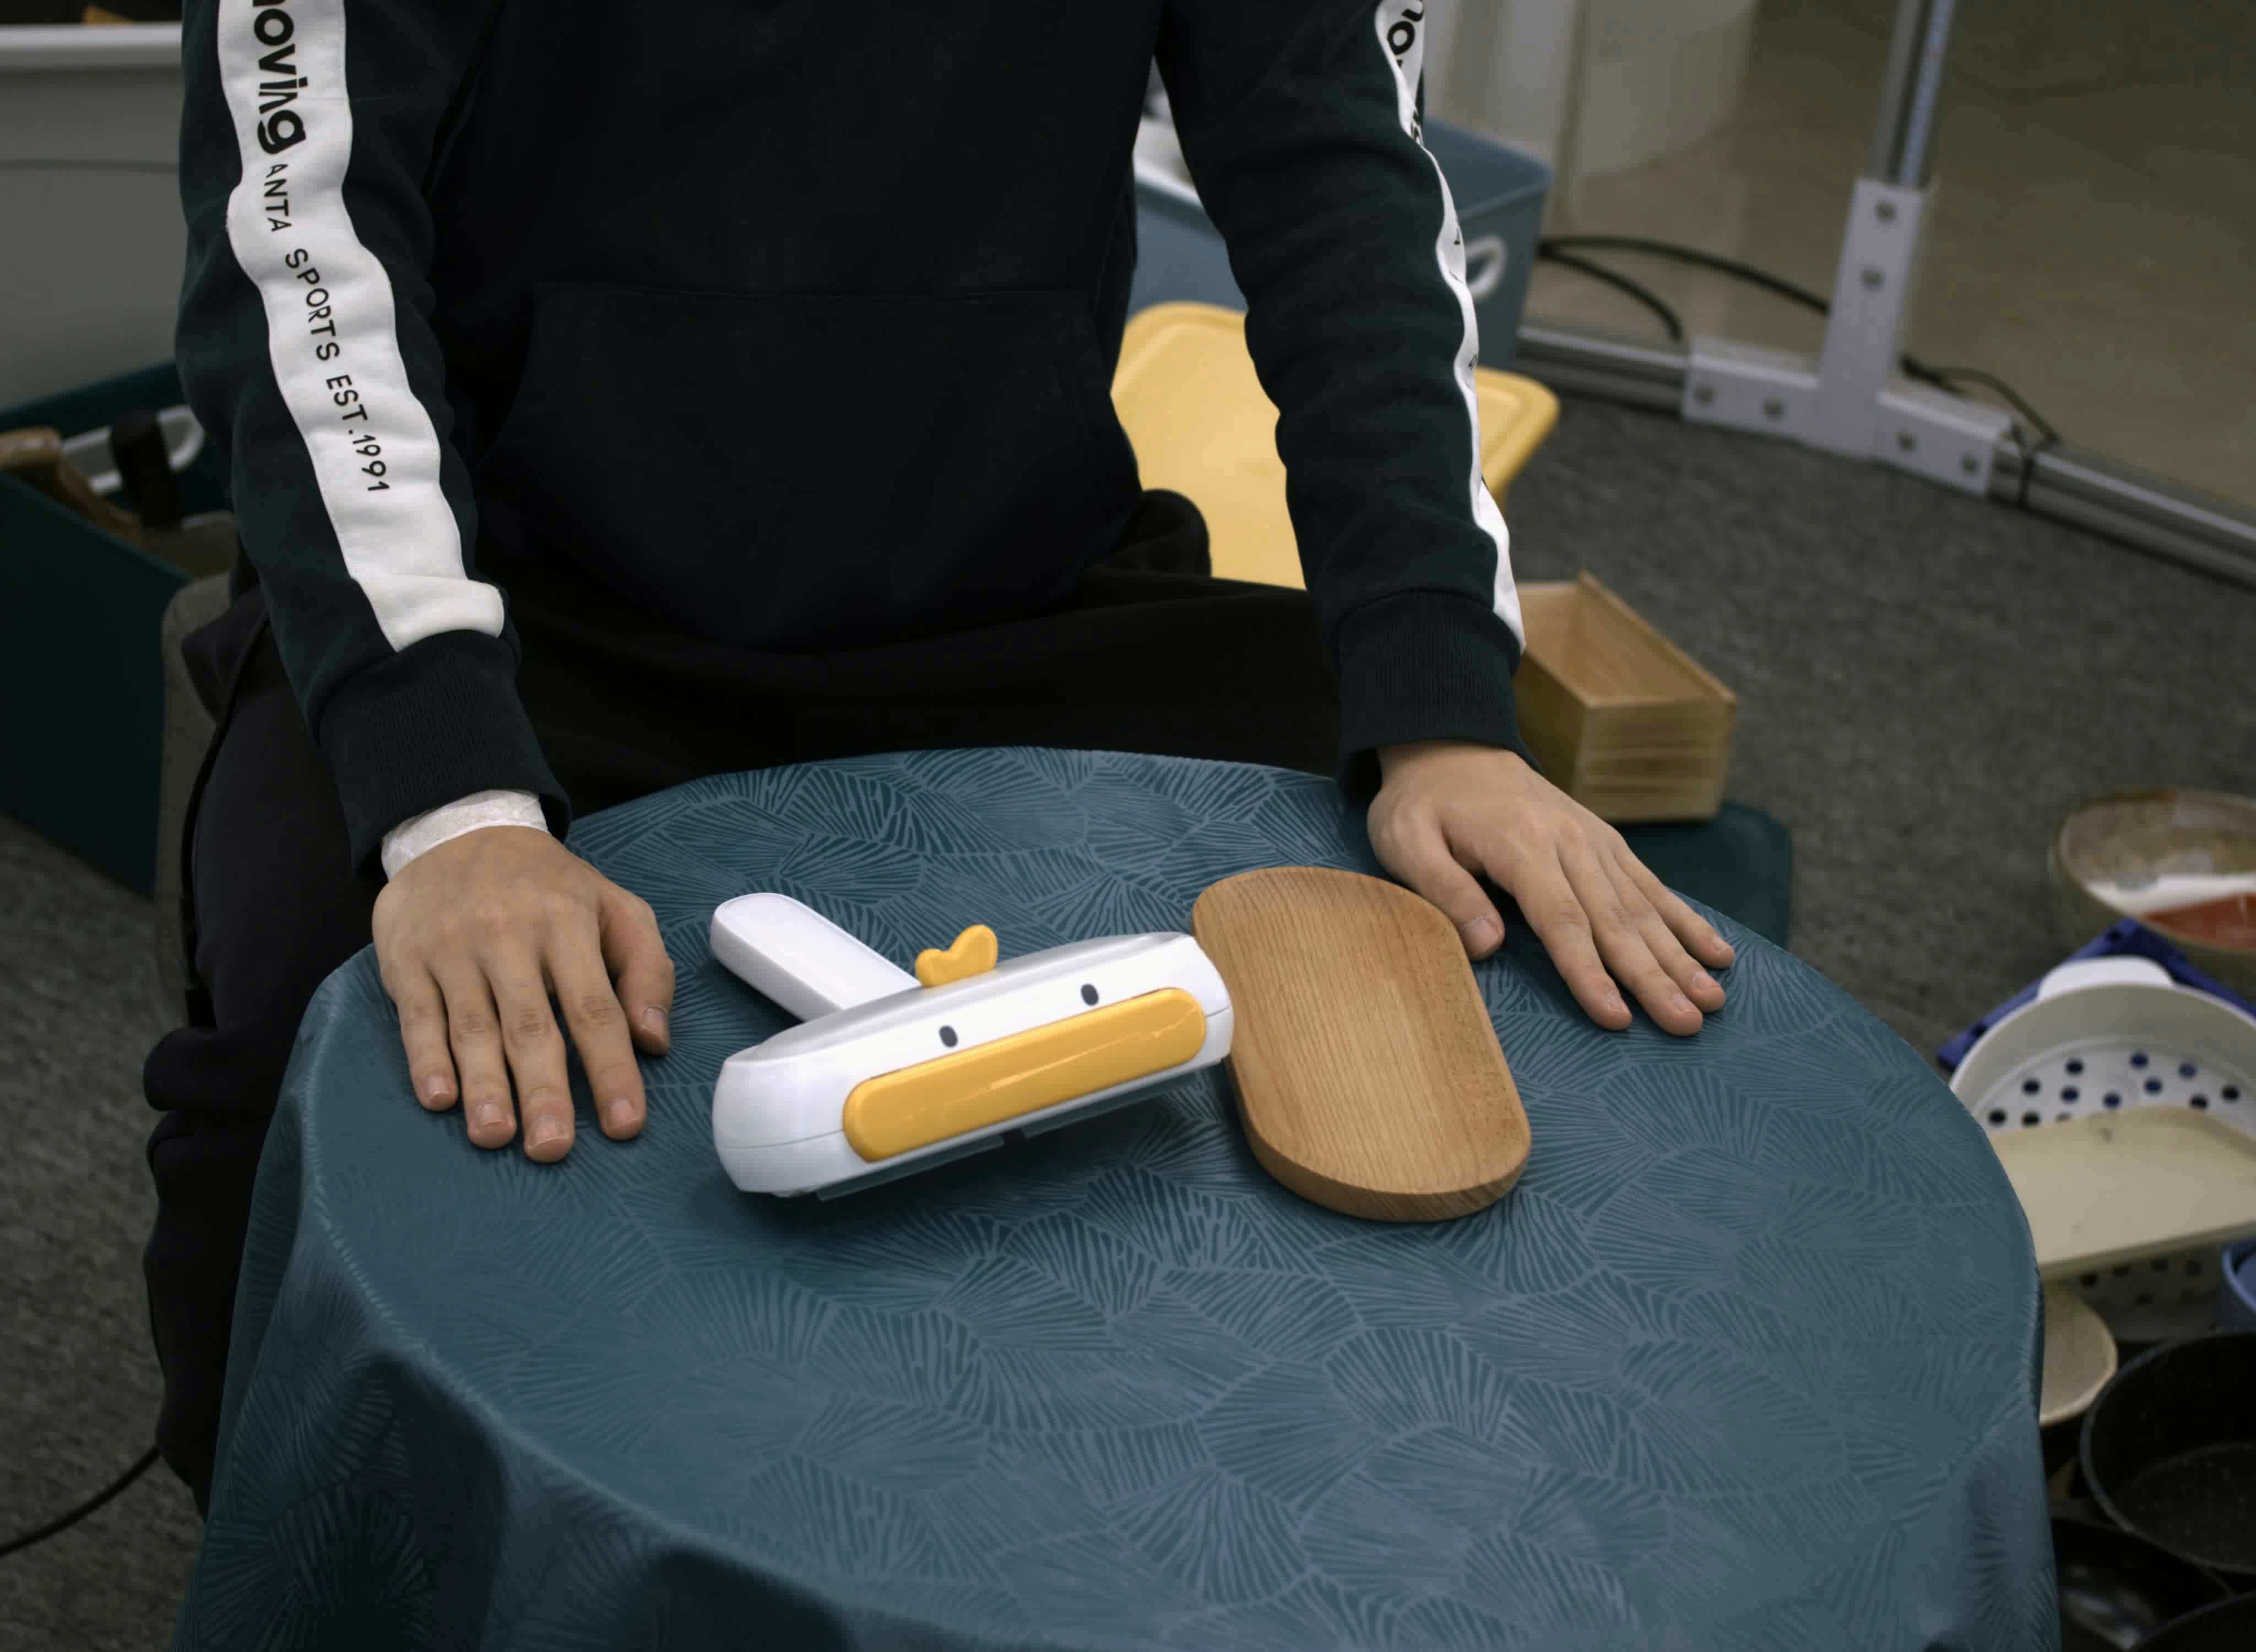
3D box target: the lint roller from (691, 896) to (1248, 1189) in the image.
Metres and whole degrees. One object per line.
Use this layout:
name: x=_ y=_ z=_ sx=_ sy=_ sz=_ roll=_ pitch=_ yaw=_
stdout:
lint roller: x=-0.083 y=0.064 z=1.844 sx=0.192 sy=0.074 sz=0.193 roll=-22 pitch=19 yaw=-34

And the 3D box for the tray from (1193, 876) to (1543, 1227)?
tray: x=0.082 y=0.078 z=1.890 sx=0.101 sy=0.020 sz=0.233 roll=1 pitch=28 yaw=-10
